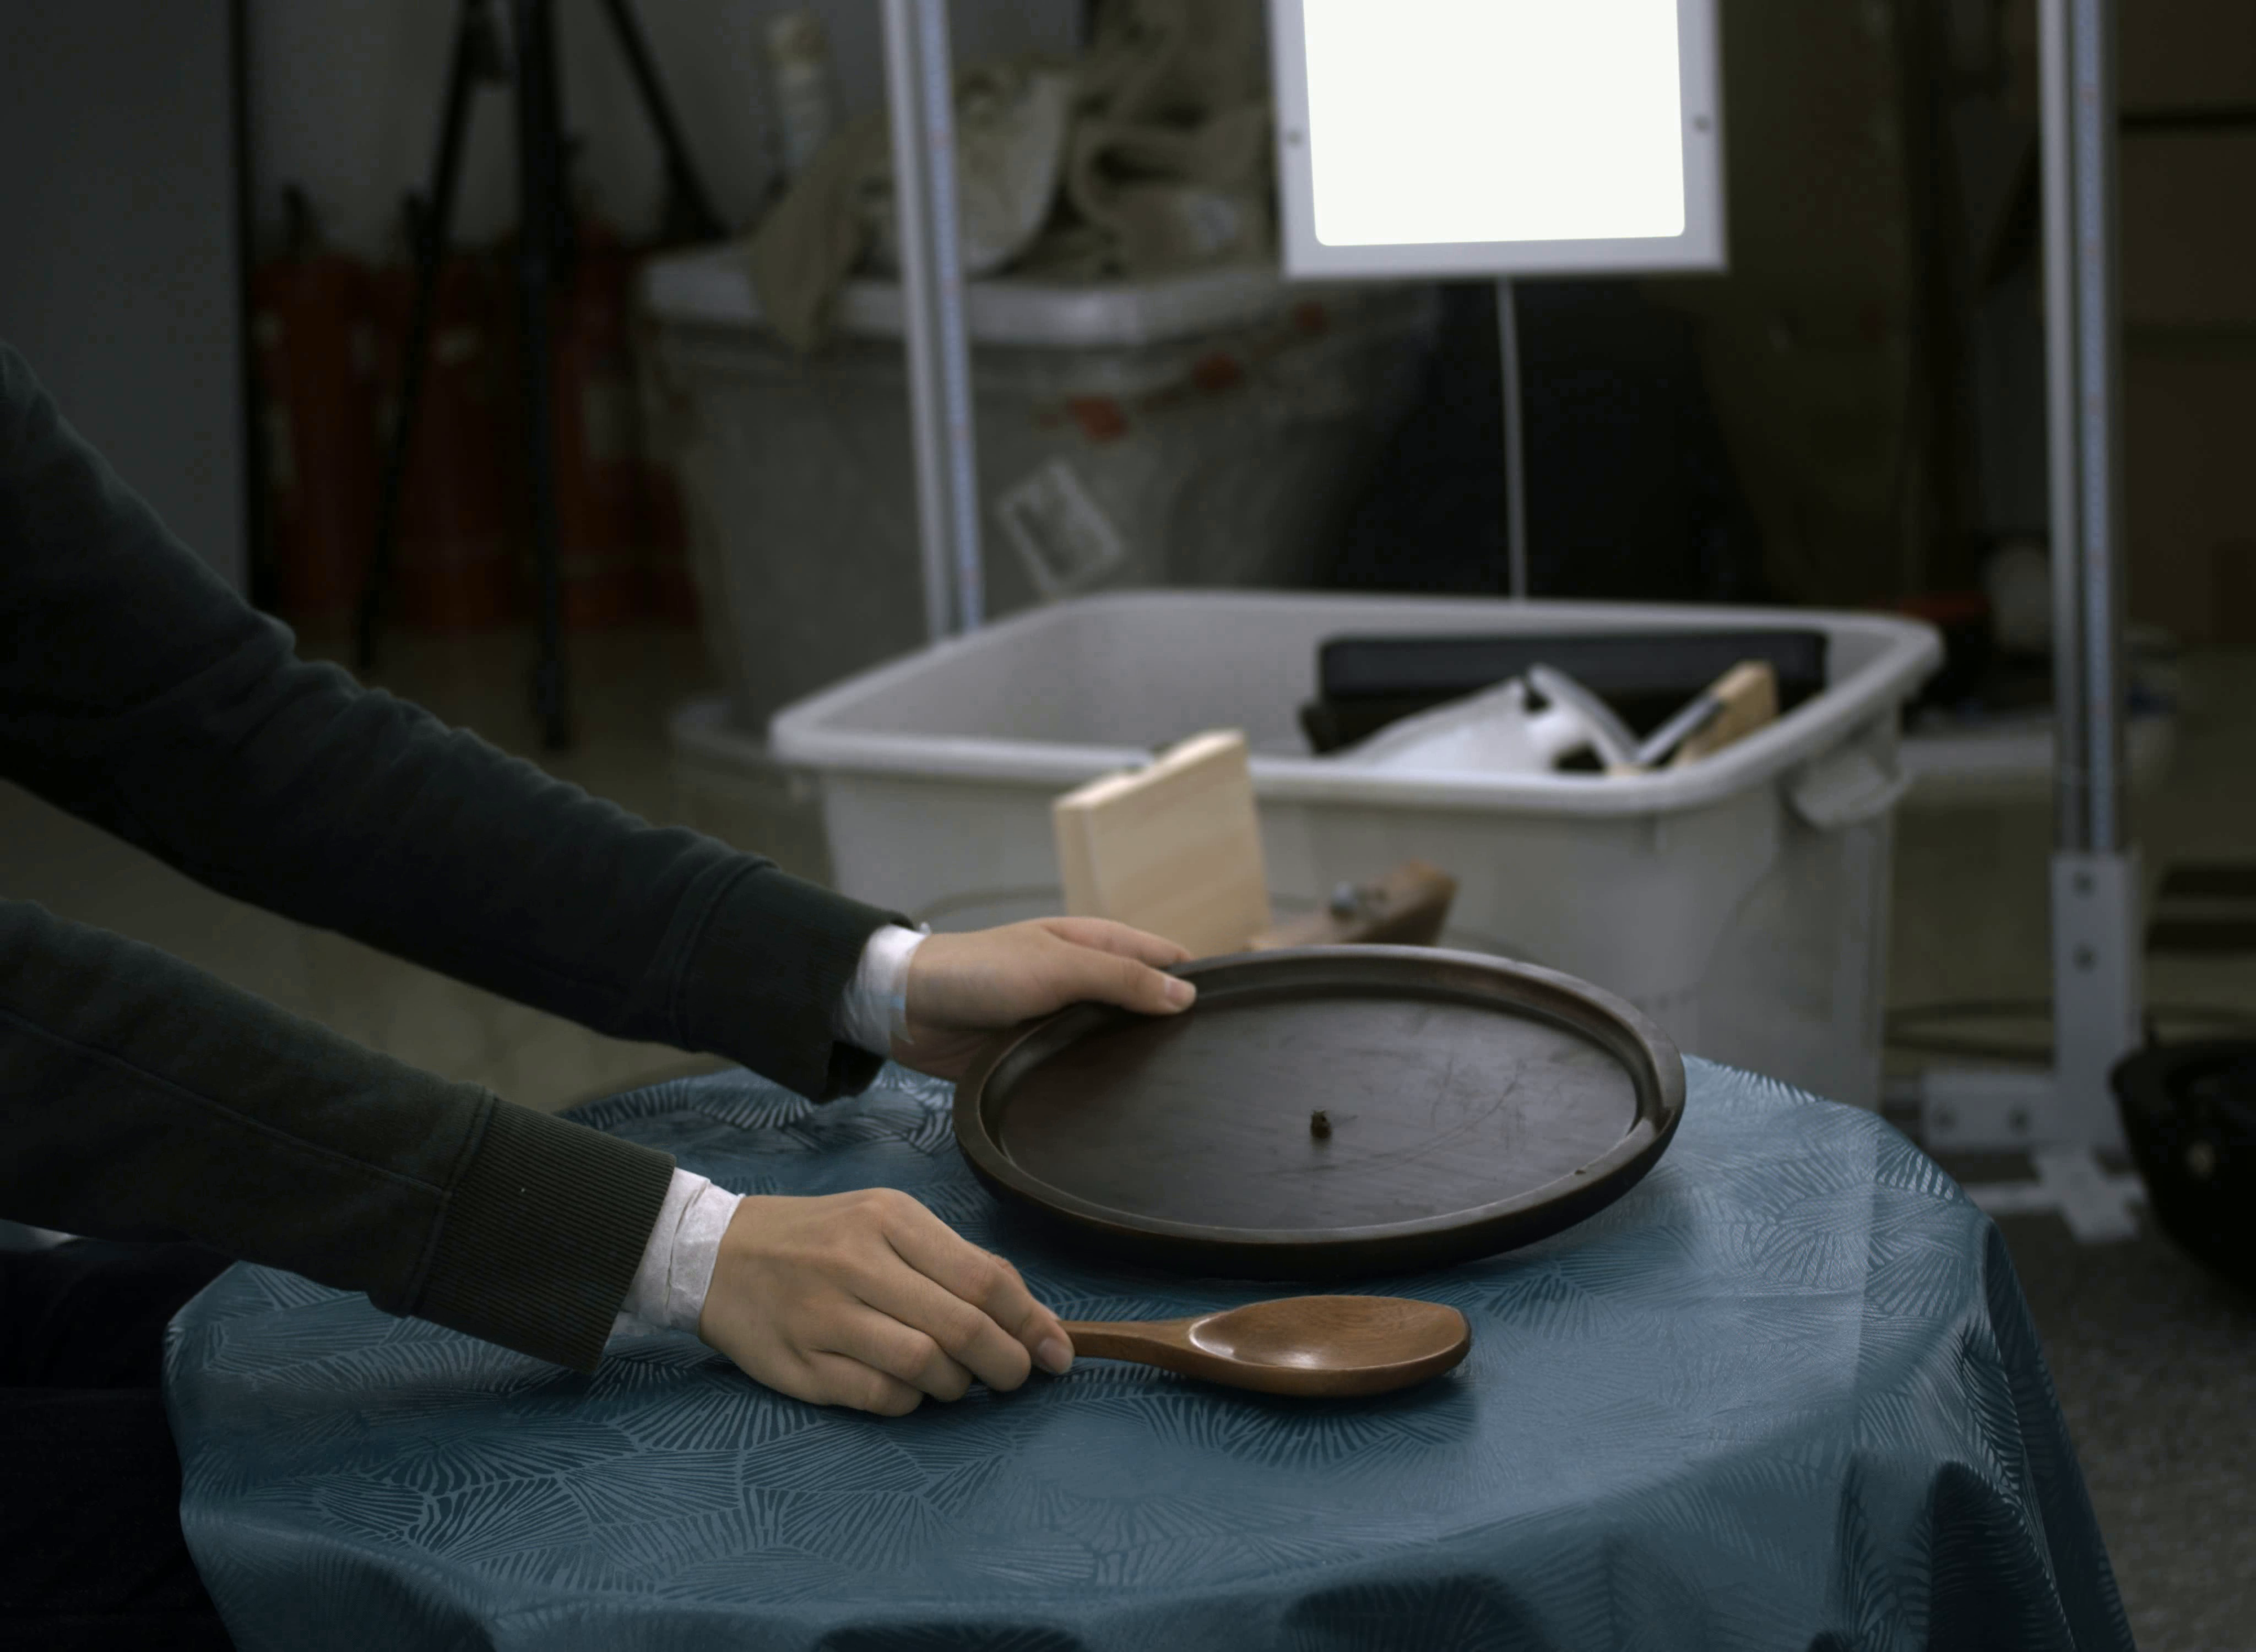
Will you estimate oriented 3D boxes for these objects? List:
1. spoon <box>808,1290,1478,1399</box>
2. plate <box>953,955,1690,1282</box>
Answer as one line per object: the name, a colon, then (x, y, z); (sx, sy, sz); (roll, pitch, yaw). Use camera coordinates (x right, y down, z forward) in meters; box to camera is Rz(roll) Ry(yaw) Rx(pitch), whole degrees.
spoon: (0.003, 0.160, 1.714); (0.218, 0.017, 0.074); (2, 15, 18)
plate: (0.066, 0.098, 1.887); (0.254, 0.029, 0.254); (-4, 20, 0)
